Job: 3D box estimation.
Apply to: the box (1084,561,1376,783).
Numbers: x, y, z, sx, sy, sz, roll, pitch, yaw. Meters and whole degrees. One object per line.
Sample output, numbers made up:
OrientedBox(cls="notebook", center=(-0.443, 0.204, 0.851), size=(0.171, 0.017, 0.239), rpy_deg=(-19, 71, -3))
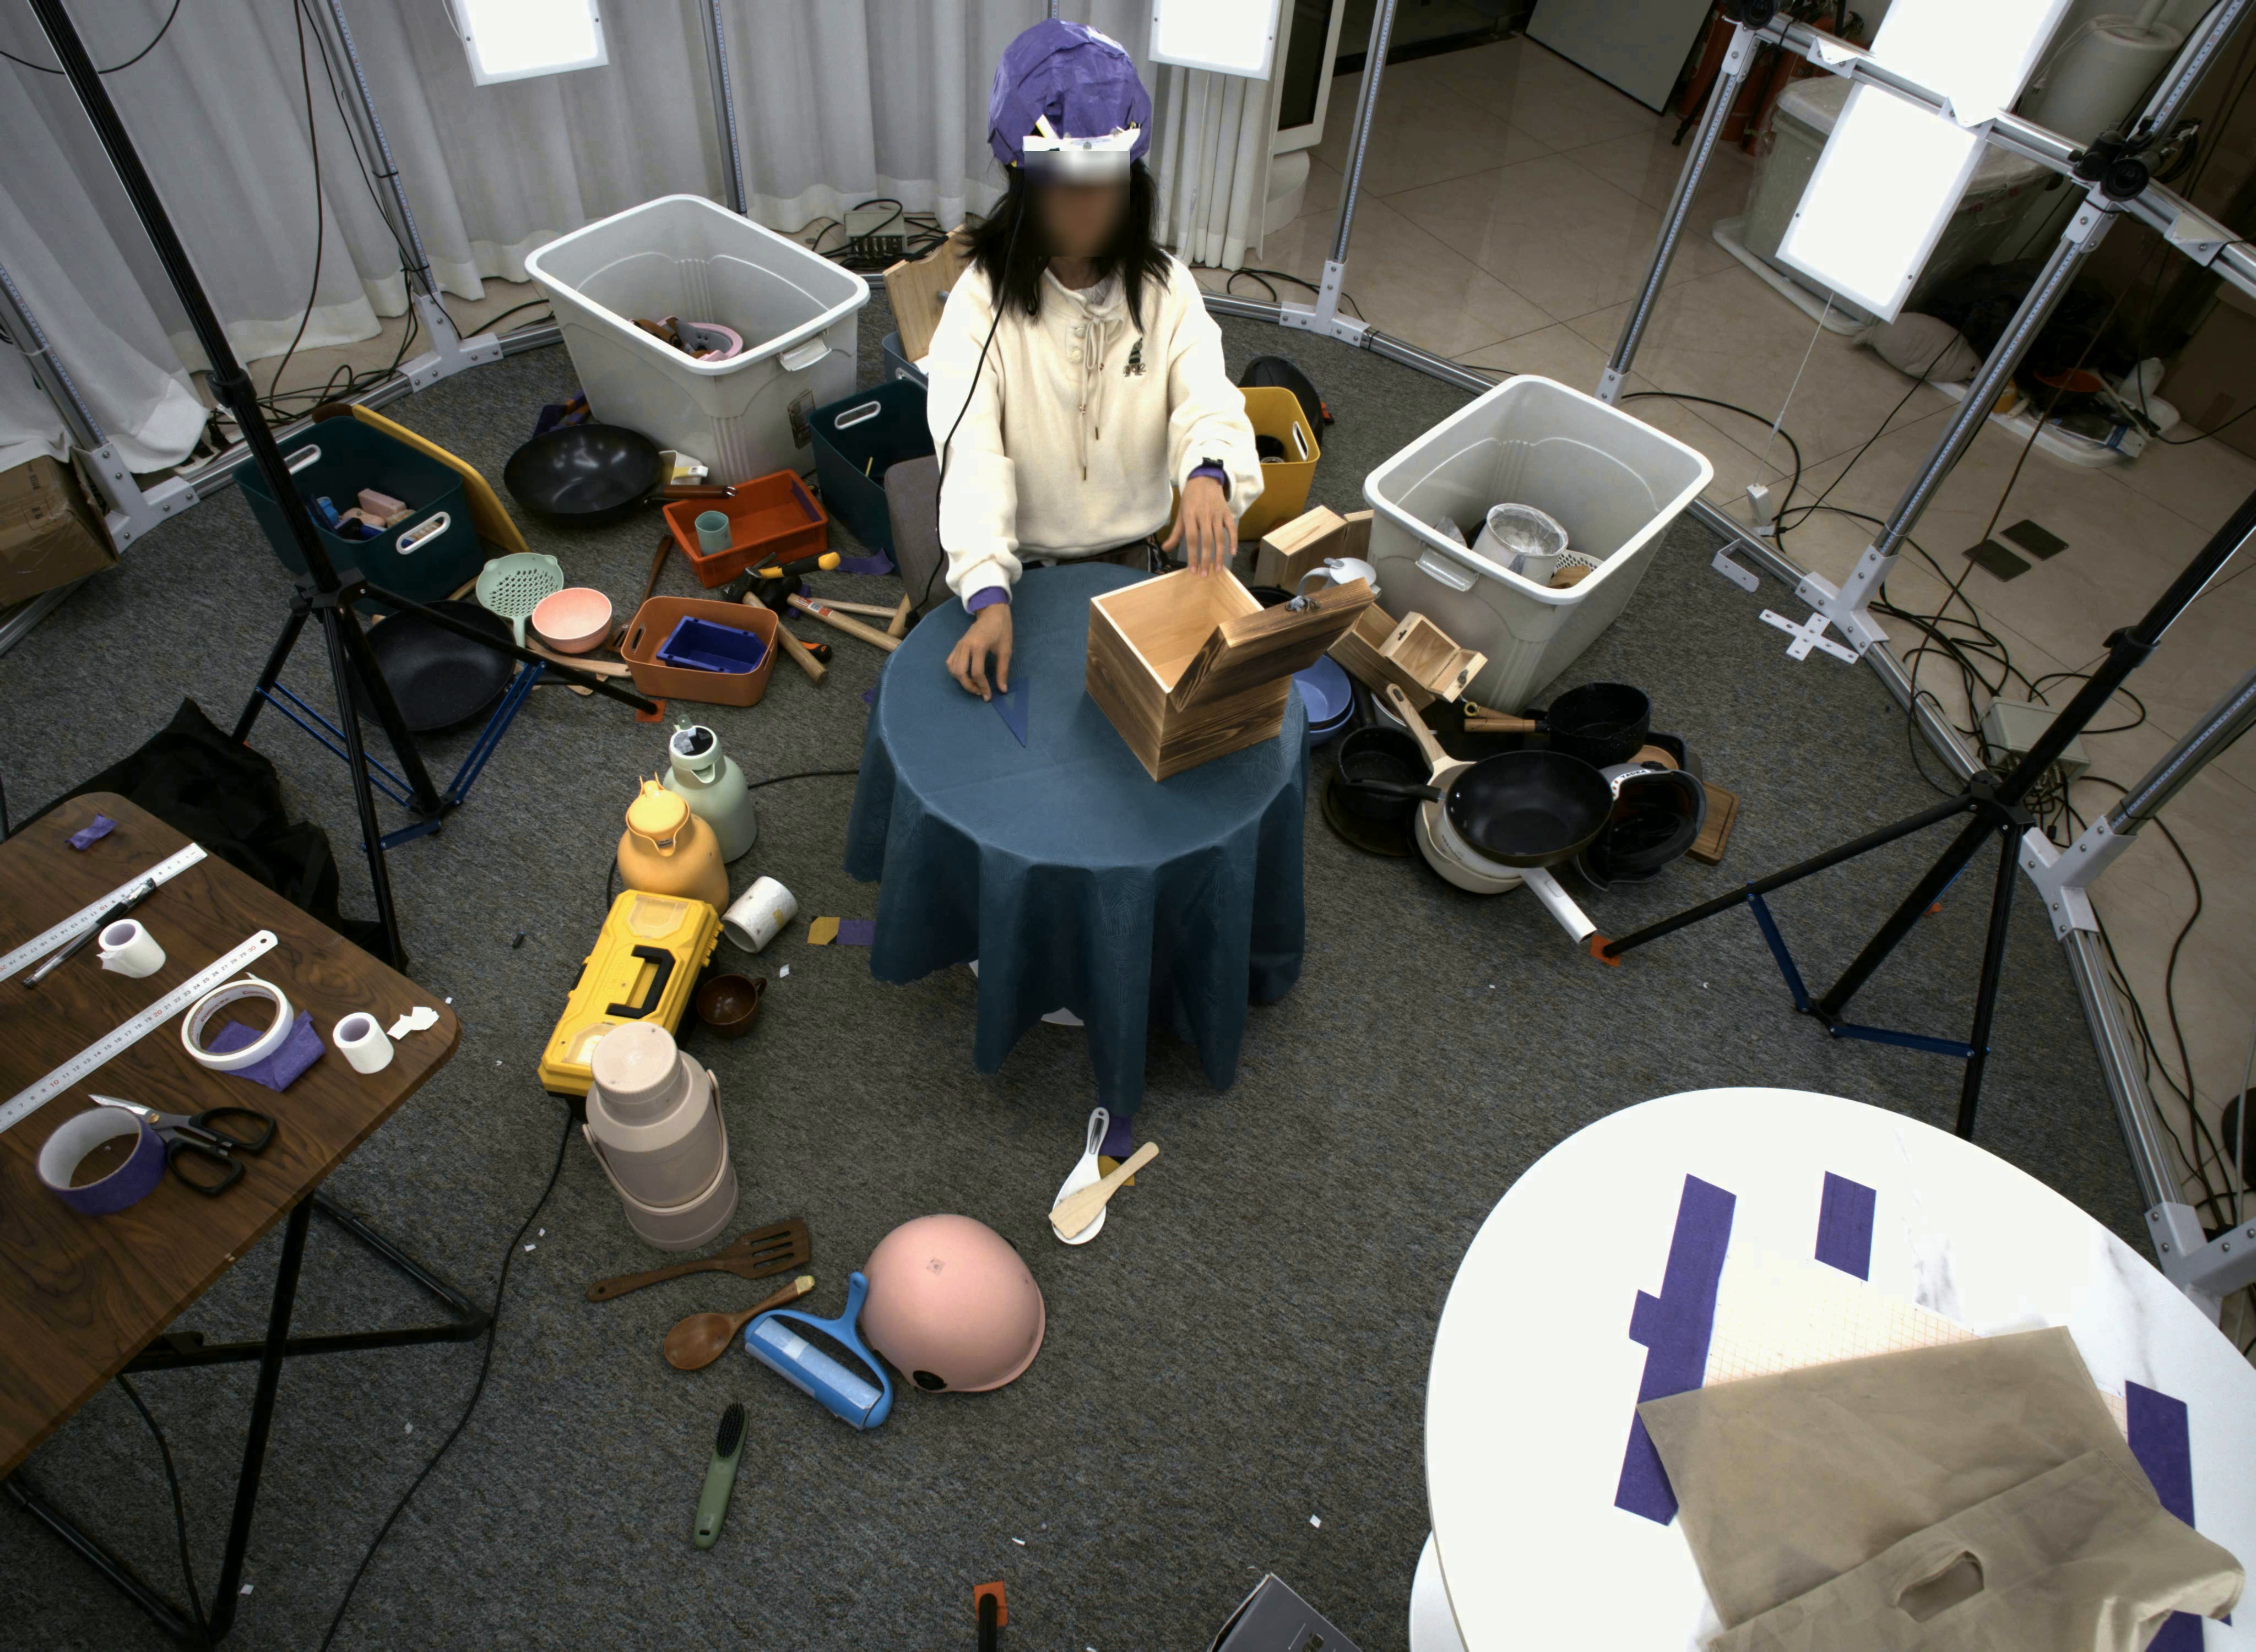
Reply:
OrientedBox(cls="box", center=(0.114, -0.238, 1.656), size=(0.209, 0.366, 0.329), rpy_deg=(-21, 55, -21))

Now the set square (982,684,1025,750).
OrientedBox(cls="set square", center=(-0.177, -0.157, 1.790), size=(0.061, 0.006, 0.135), rpy_deg=(7, 49, -3))
